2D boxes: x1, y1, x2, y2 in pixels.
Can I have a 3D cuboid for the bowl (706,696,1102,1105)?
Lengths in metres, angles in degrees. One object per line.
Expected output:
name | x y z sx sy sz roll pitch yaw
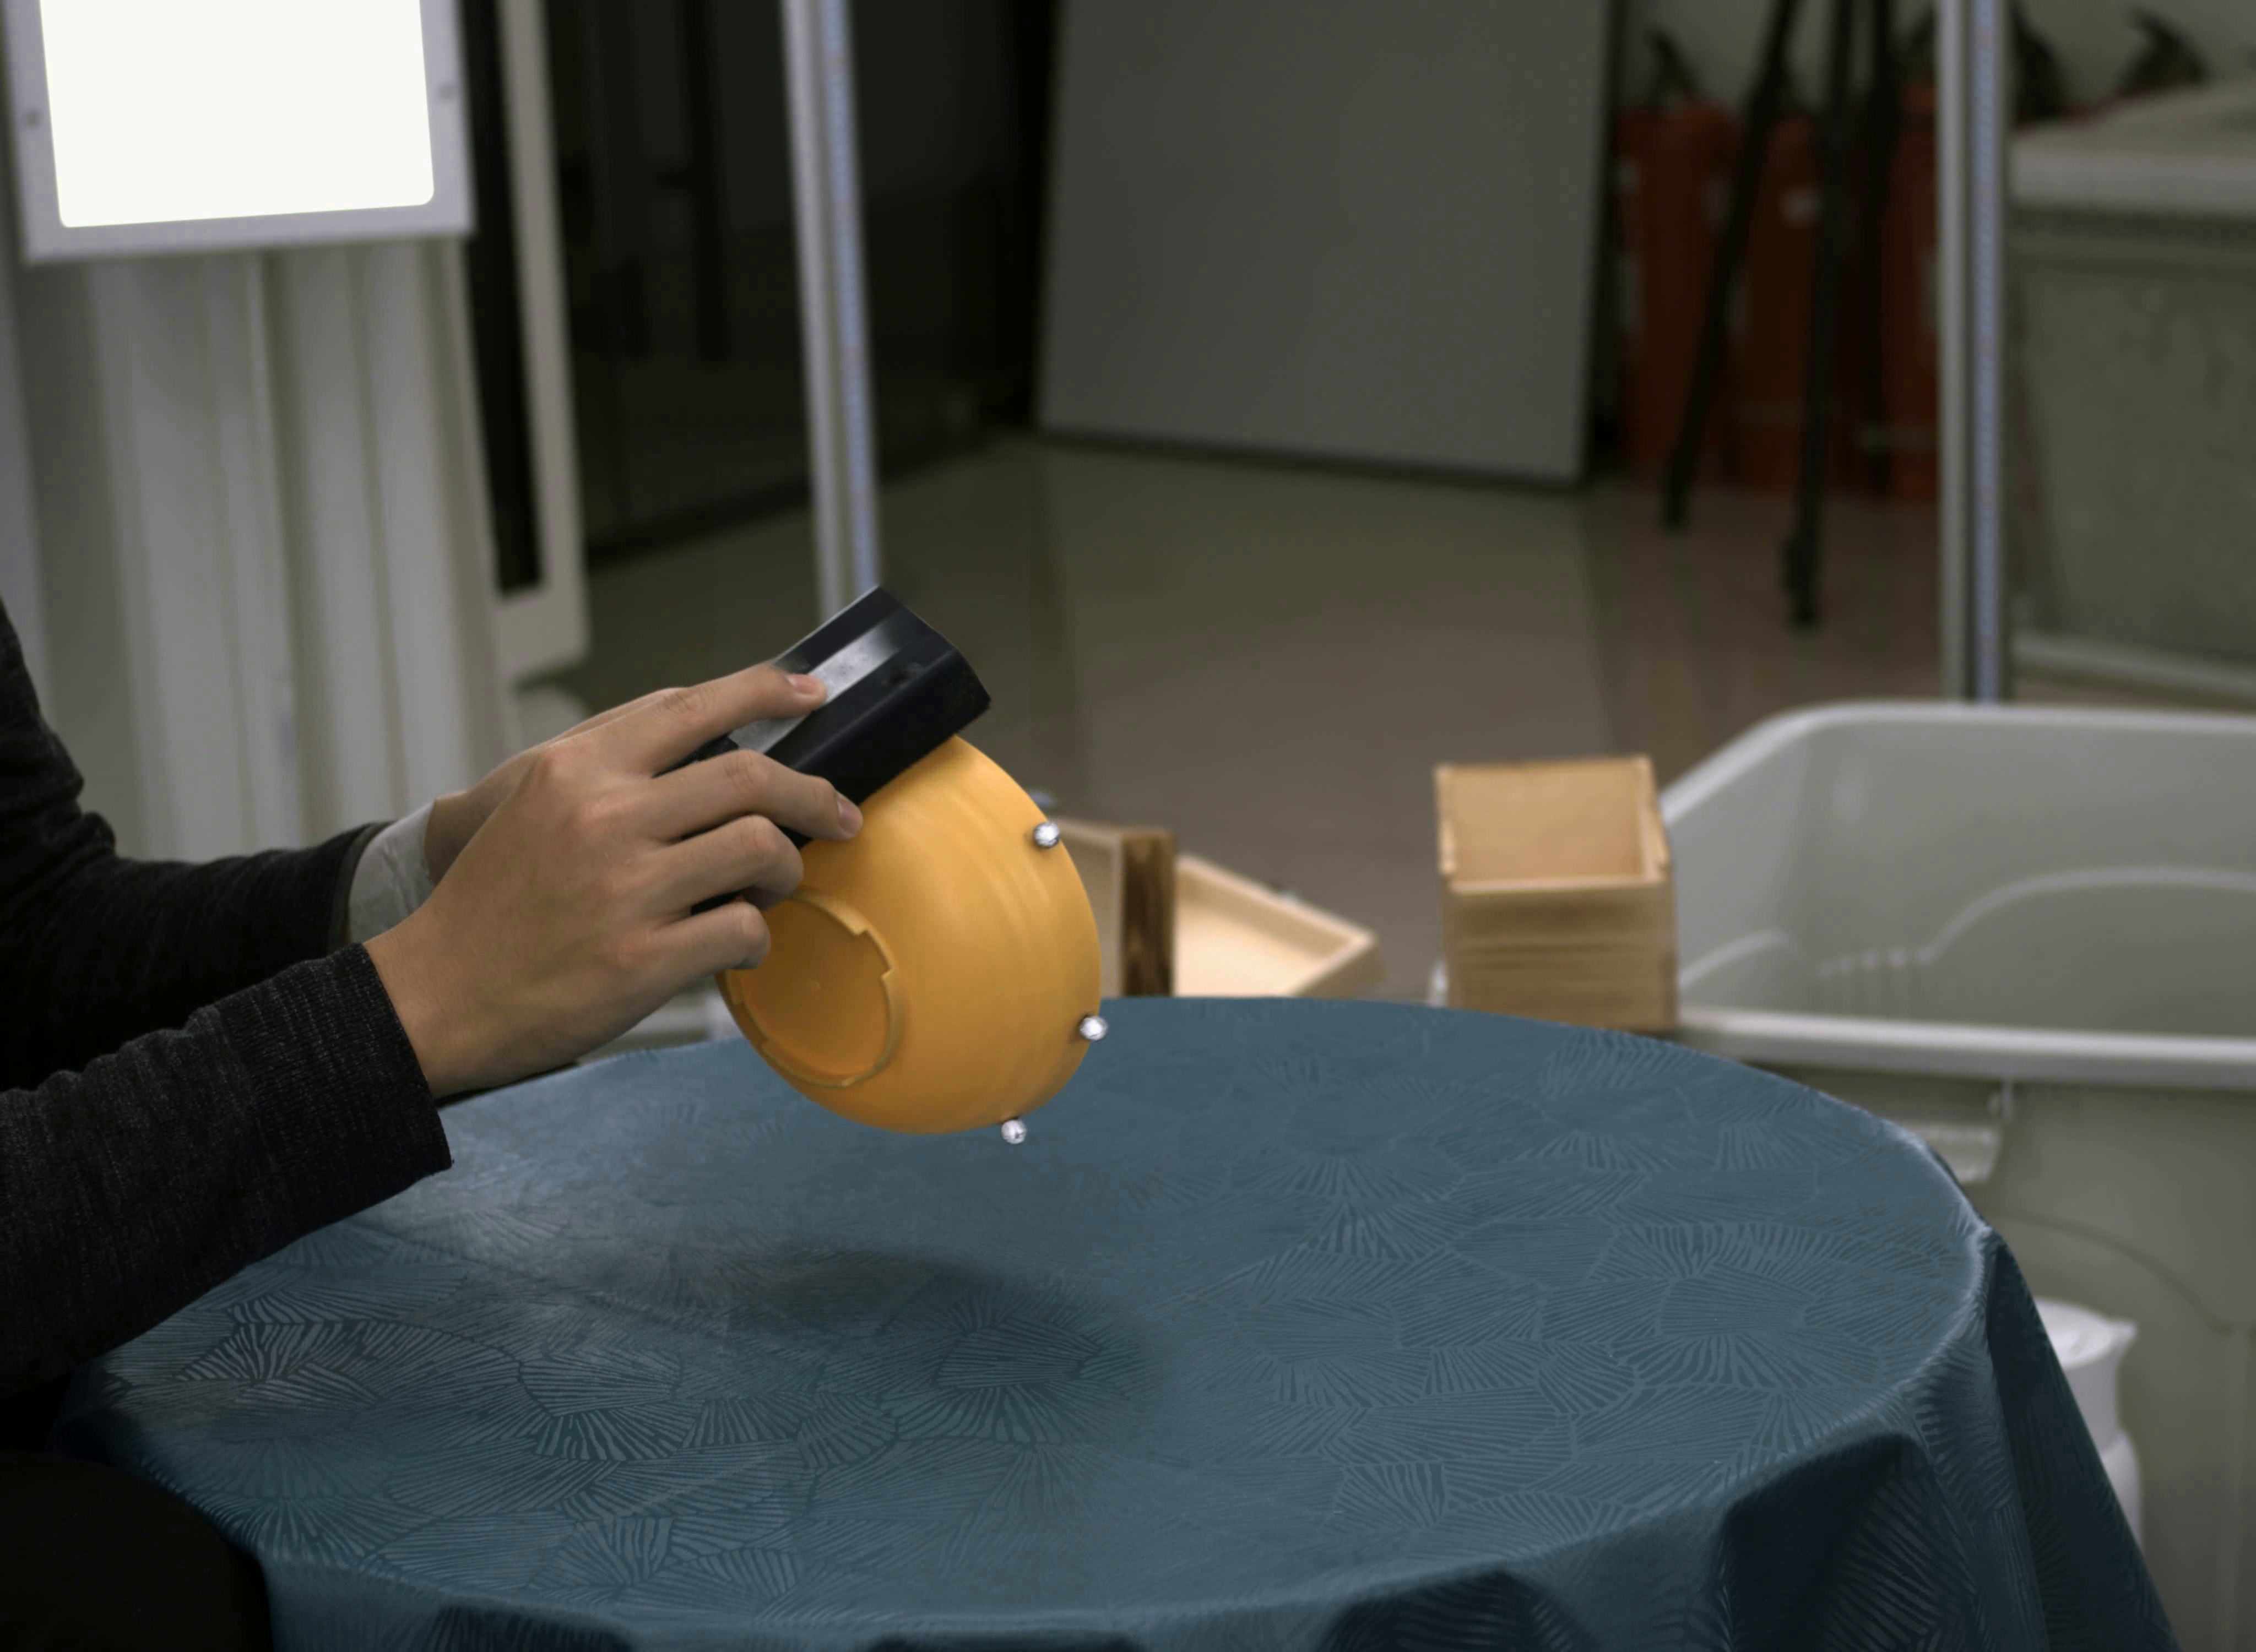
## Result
bowl | -0.083 0.028 1.681 0.146 0.146 0.059 6 24 35

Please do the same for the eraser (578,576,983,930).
eraser | -0.106 -0.024 1.651 0.124 0.030 0.054 -40 40 -13
